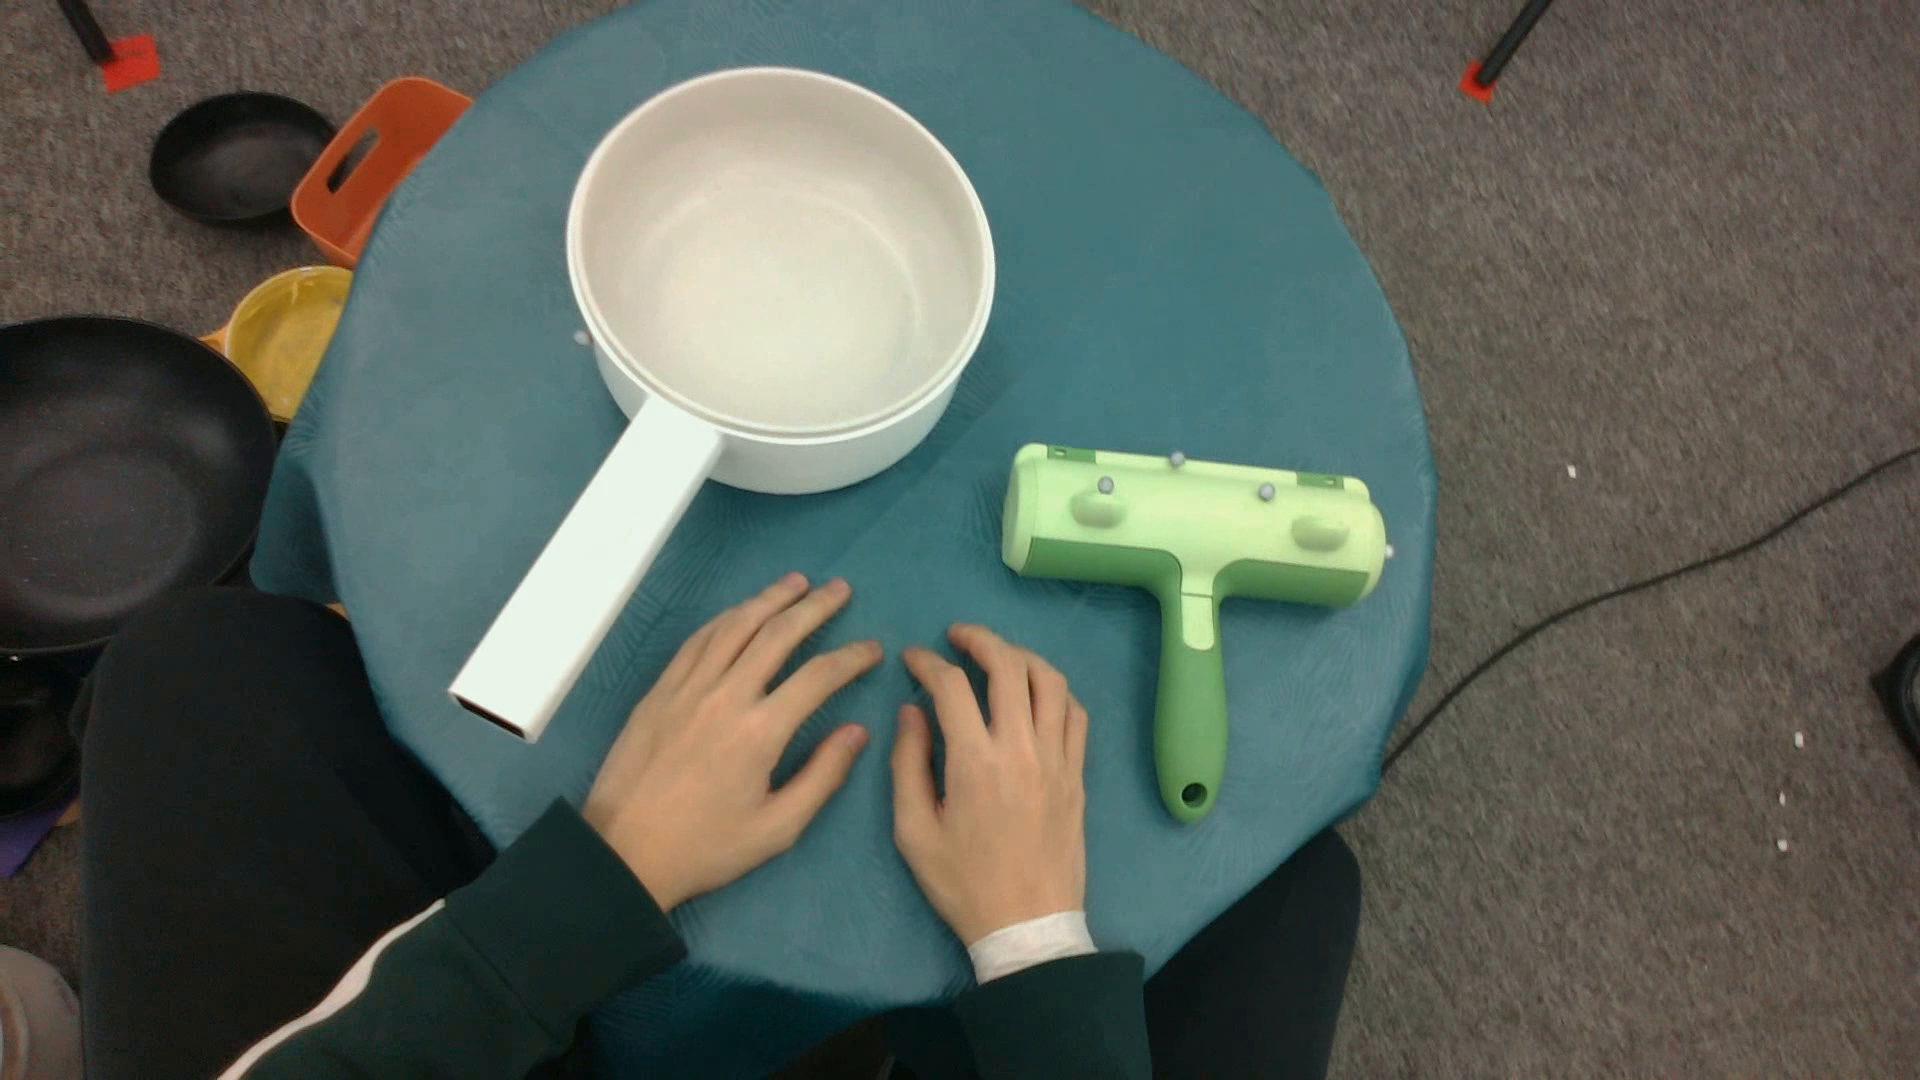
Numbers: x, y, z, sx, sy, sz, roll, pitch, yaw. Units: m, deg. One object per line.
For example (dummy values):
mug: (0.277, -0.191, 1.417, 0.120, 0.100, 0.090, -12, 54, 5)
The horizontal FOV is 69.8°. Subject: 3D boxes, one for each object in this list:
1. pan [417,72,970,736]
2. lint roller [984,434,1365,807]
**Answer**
pan: (-0.134, -0.061, 0.667, 0.201, 0.101, 0.356, 27, 67, 0)
lint roller: (0.113, 0.036, 0.691, 0.199, 0.082, 0.184, 5, 63, -9)
